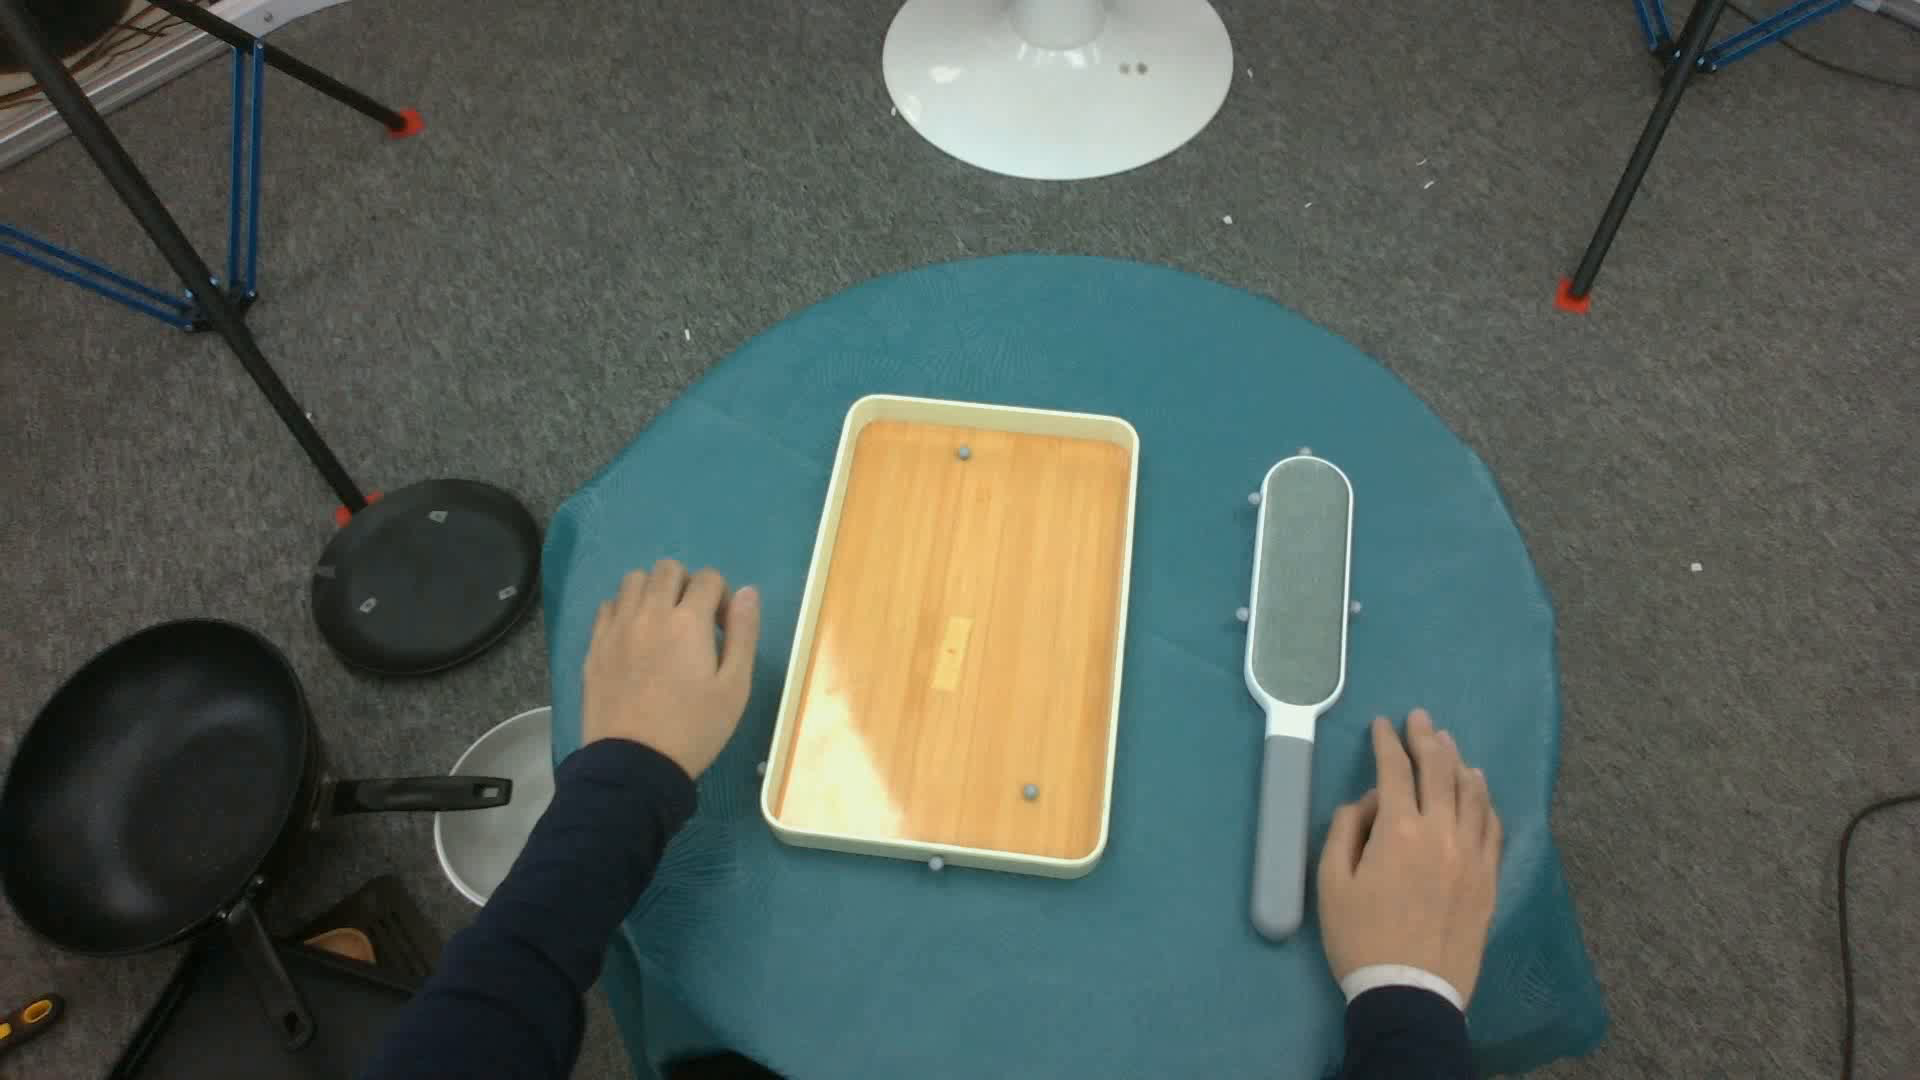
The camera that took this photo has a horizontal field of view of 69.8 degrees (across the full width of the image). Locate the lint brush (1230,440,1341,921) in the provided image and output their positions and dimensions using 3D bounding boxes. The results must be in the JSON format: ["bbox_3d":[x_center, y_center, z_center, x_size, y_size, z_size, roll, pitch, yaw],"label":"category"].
[{"bbox_3d":[0.185,0.068,0.797,0.060,0.021,0.310,12,59,1],"label":"lint brush"}]

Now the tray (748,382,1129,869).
[{"bbox_3d":[-0.004,0.038,0.818,0.191,0.027,0.301,6,59,5],"label":"tray"}]
